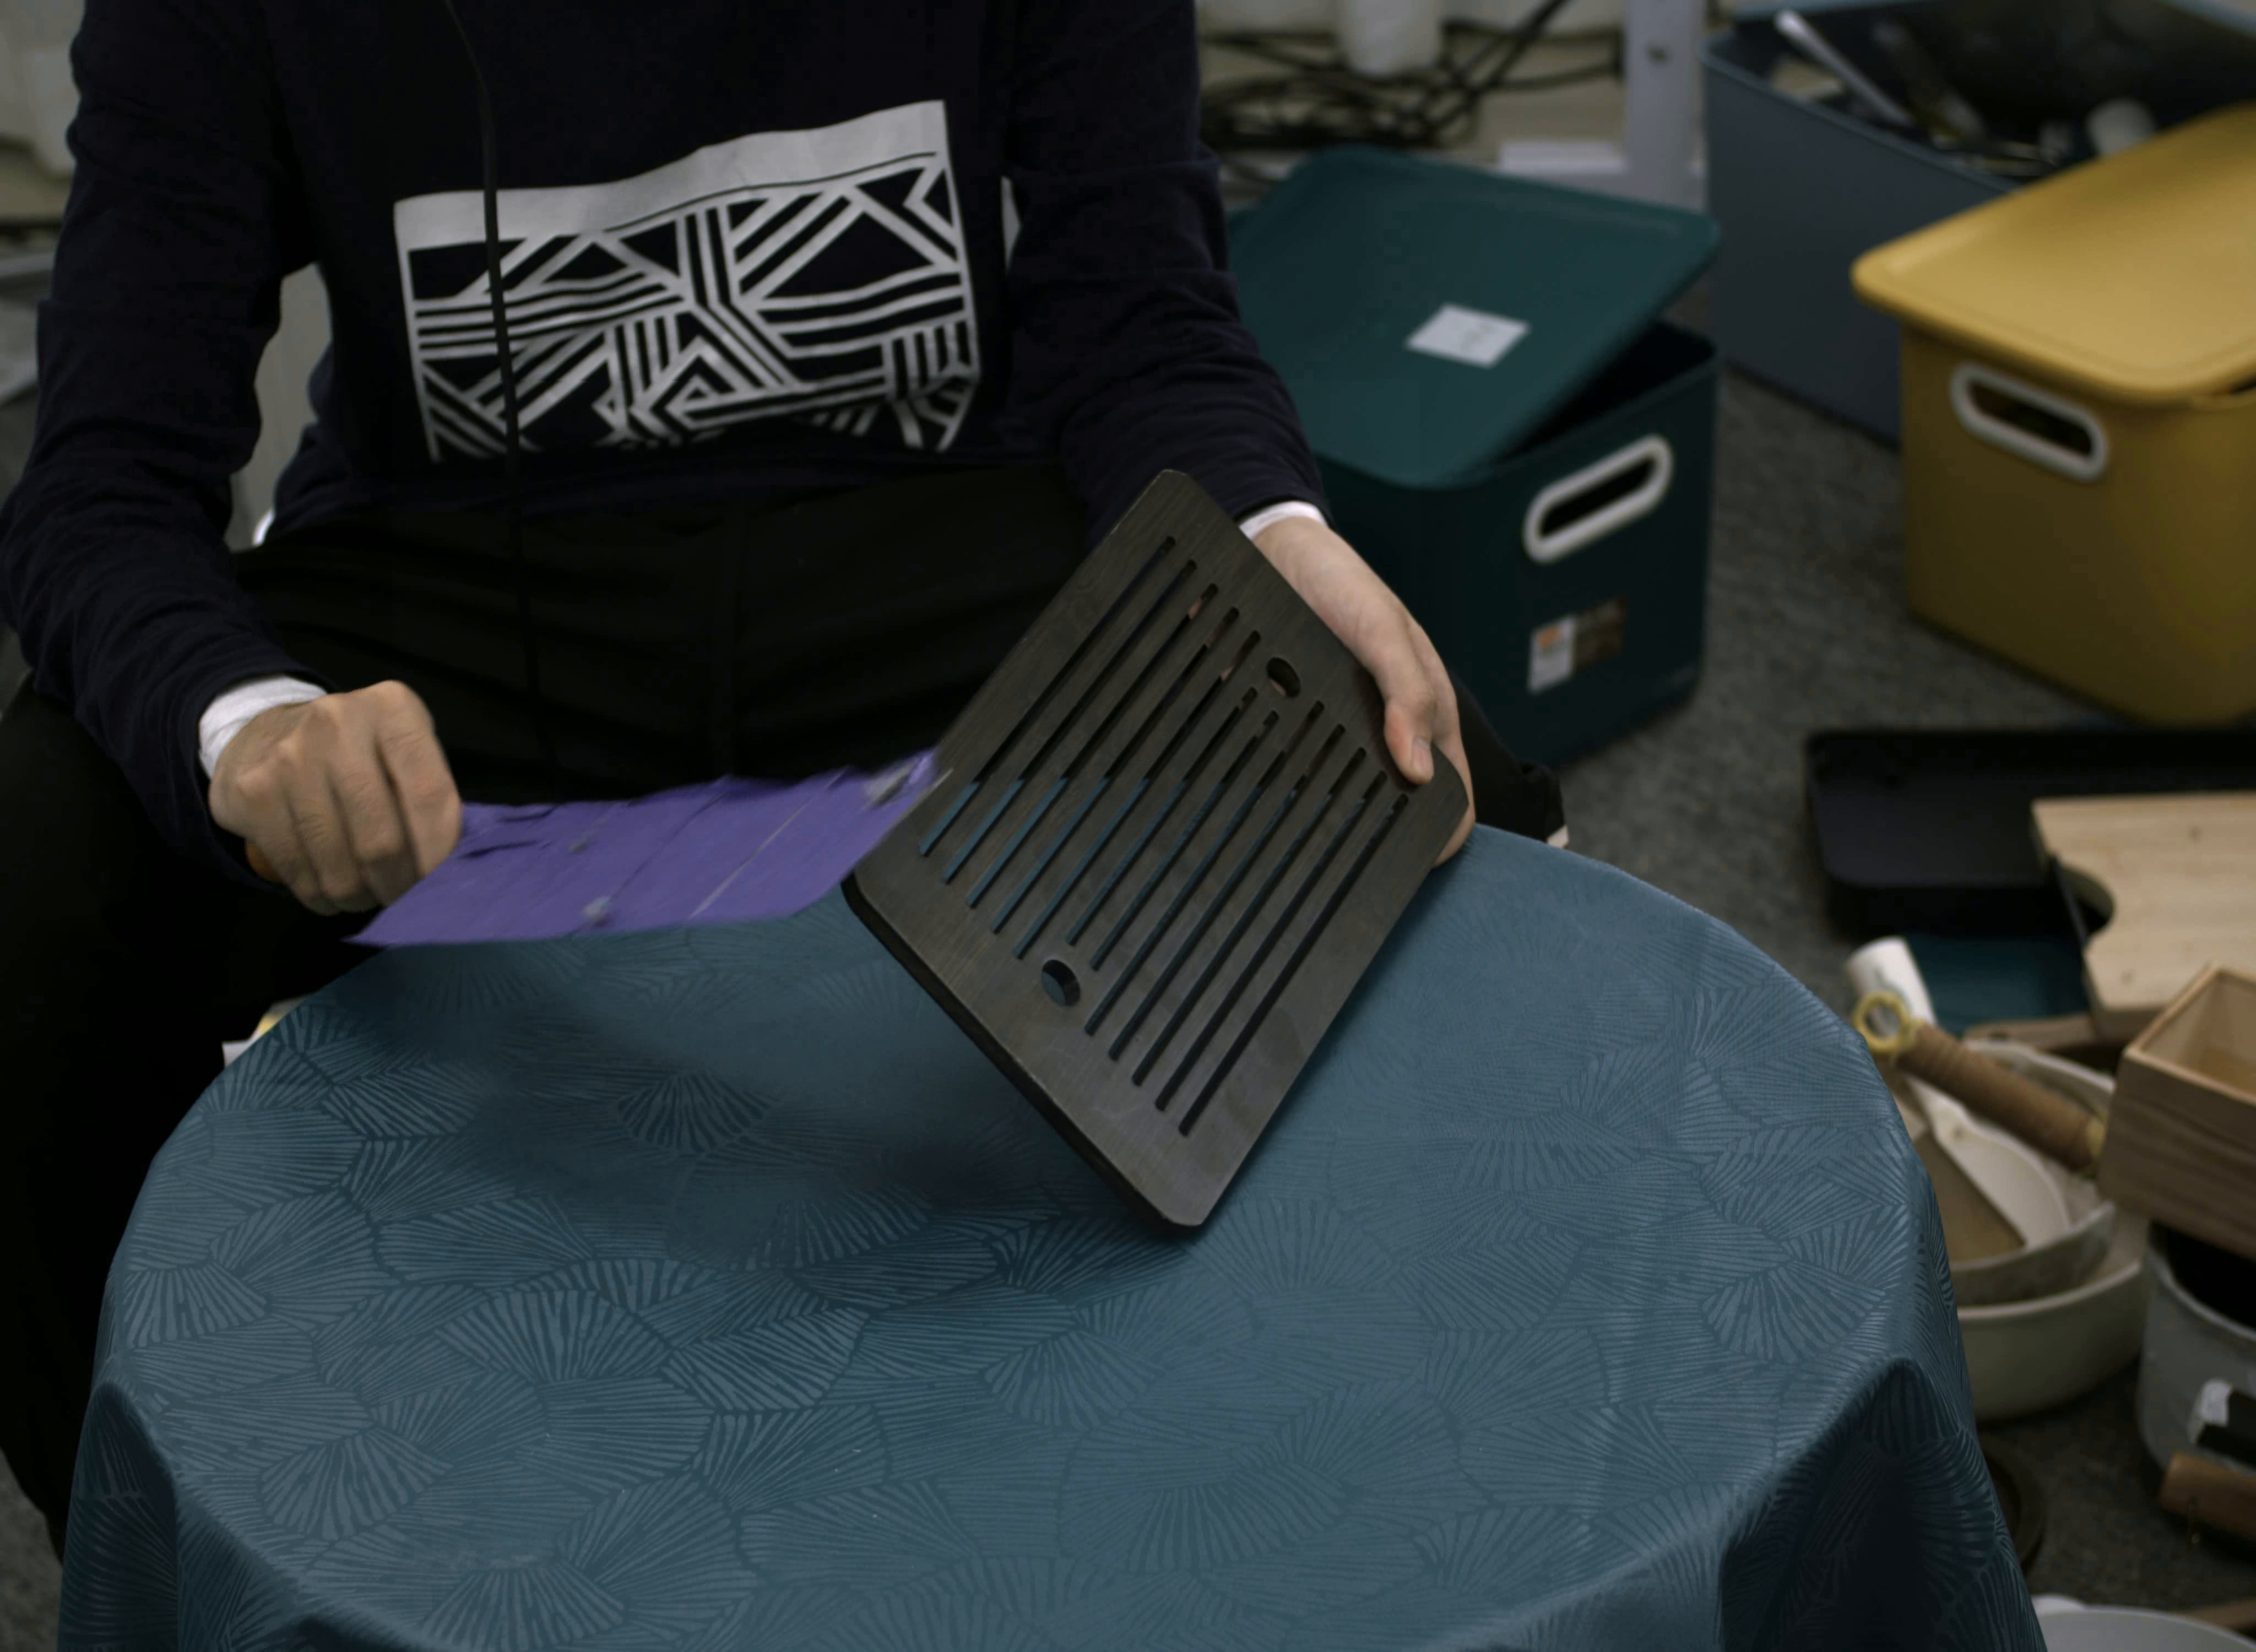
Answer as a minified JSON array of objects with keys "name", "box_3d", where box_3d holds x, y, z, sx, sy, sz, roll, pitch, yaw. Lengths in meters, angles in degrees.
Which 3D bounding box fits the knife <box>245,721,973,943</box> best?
[{"name":"knife","box_3d":[-0.198,0.008,1.902,0.311,0.032,0.105,-9,23,36]}]

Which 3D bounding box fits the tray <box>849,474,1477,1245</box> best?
[{"name":"tray","box_3d":[0.016,0.007,1.941,0.018,0.170,0.311,-38,9,35]}]
